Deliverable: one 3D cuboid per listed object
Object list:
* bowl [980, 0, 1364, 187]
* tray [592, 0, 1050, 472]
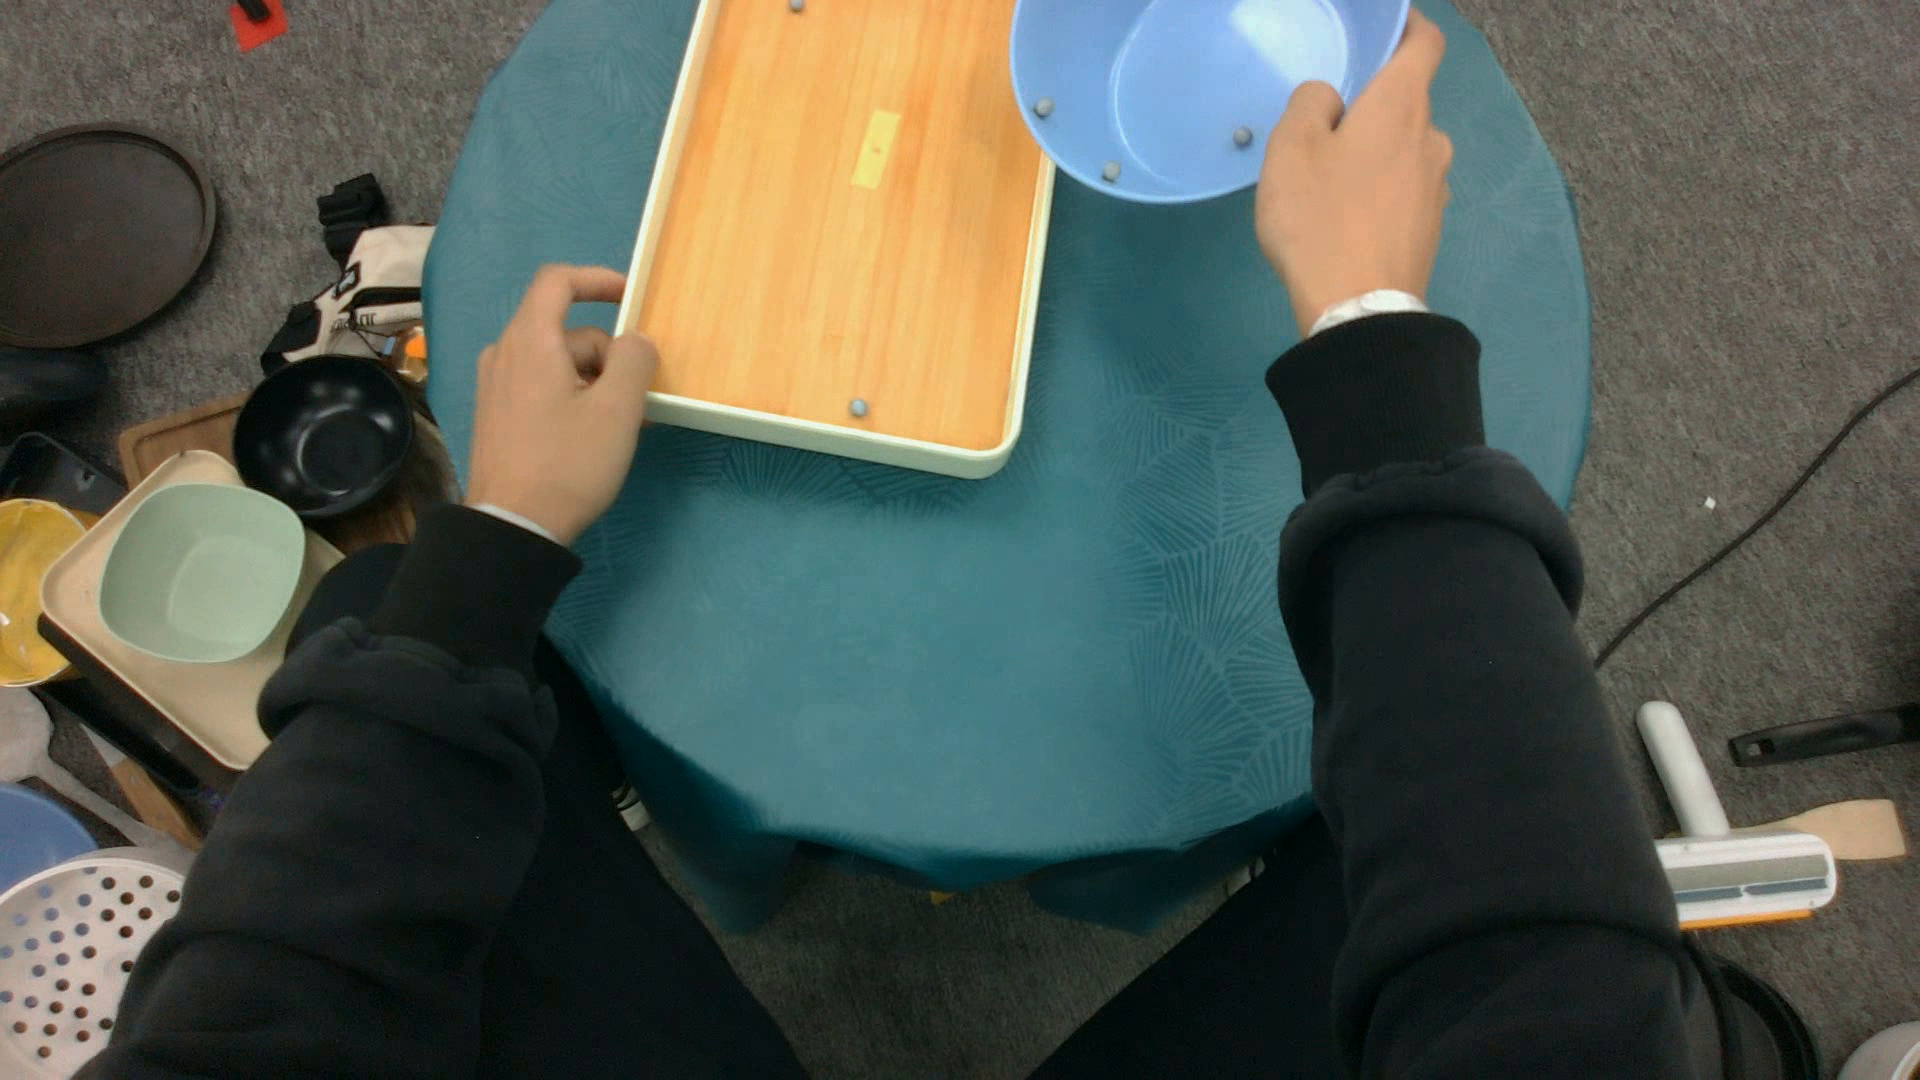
[{"bbox_3d":[0.102,-0.233,0.624,0.175,0.070,0.176,-4,79,25],"label":"bowl"},{"bbox_3d":[-0.060,-0.185,0.690,0.191,0.027,0.301,10,66,-7],"label":"tray"}]
